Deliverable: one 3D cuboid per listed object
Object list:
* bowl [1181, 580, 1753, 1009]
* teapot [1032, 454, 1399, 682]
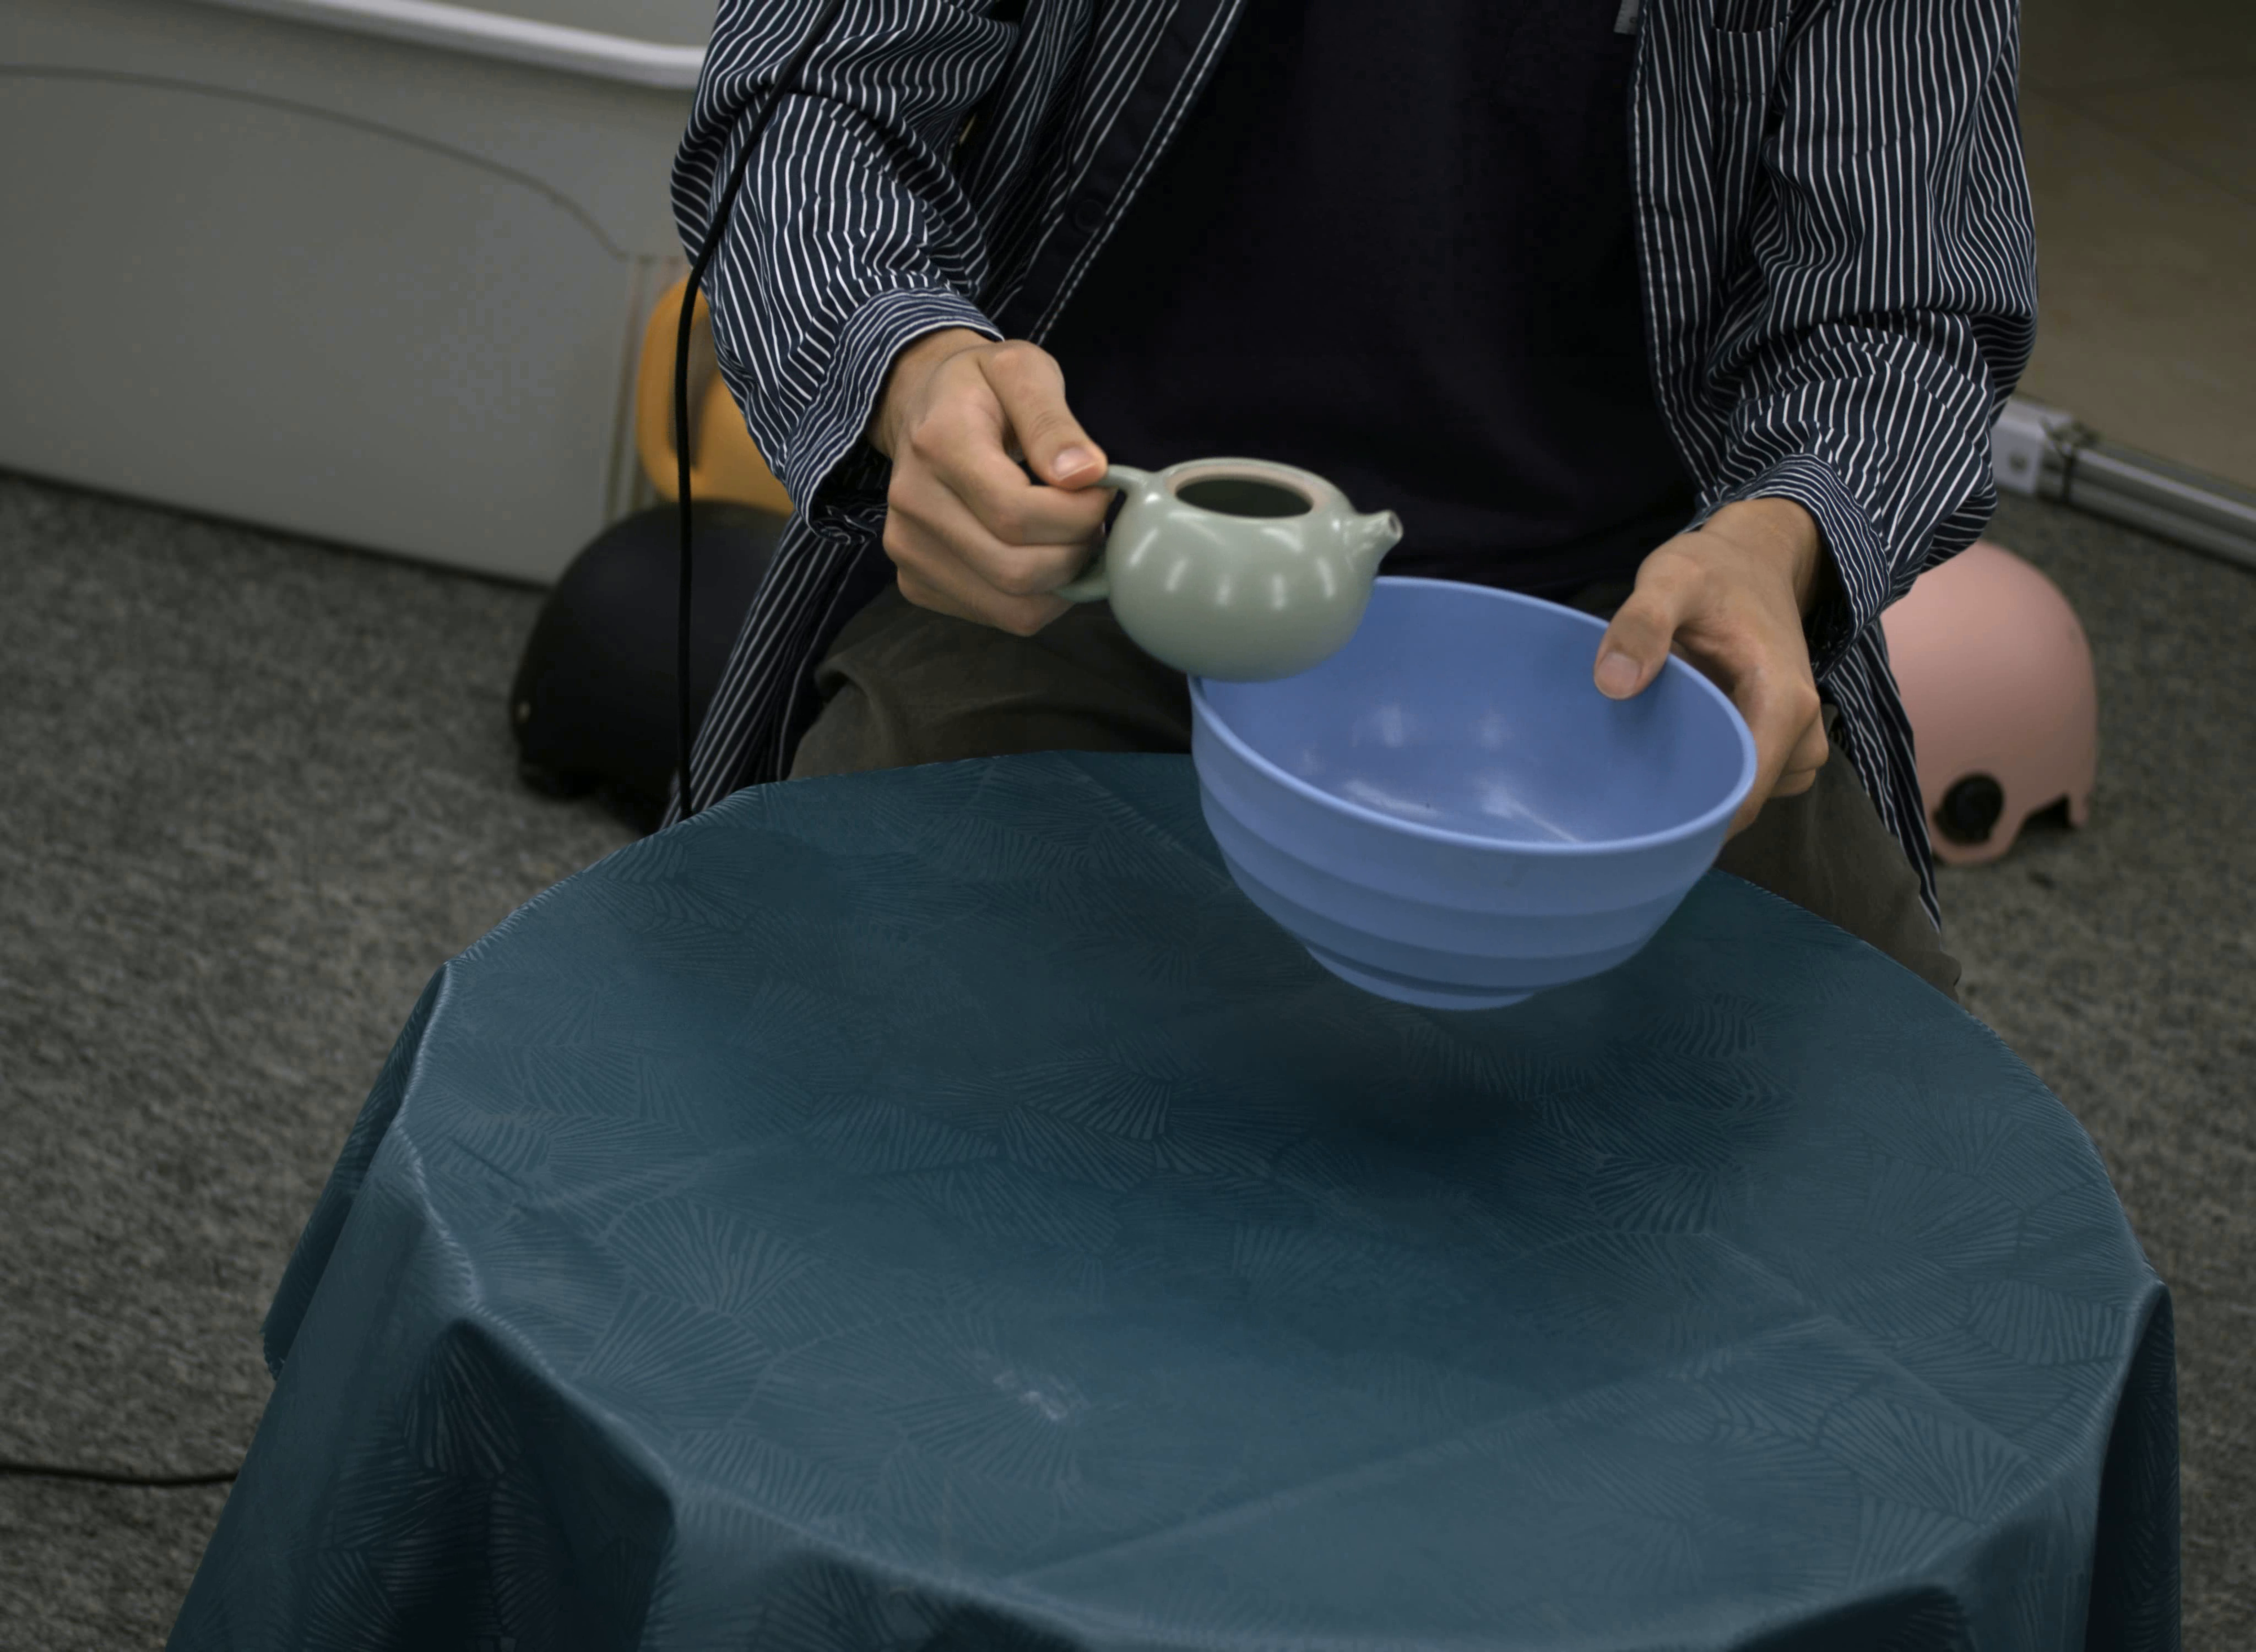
[{"bbox_3d":[0.109,-0.001,1.825,0.196,0.095,0.198,7,27,-4],"label":"bowl"},{"bbox_3d":[0.028,-0.089,1.799,0.129,0.061,0.091,12,26,17],"label":"teapot"}]
